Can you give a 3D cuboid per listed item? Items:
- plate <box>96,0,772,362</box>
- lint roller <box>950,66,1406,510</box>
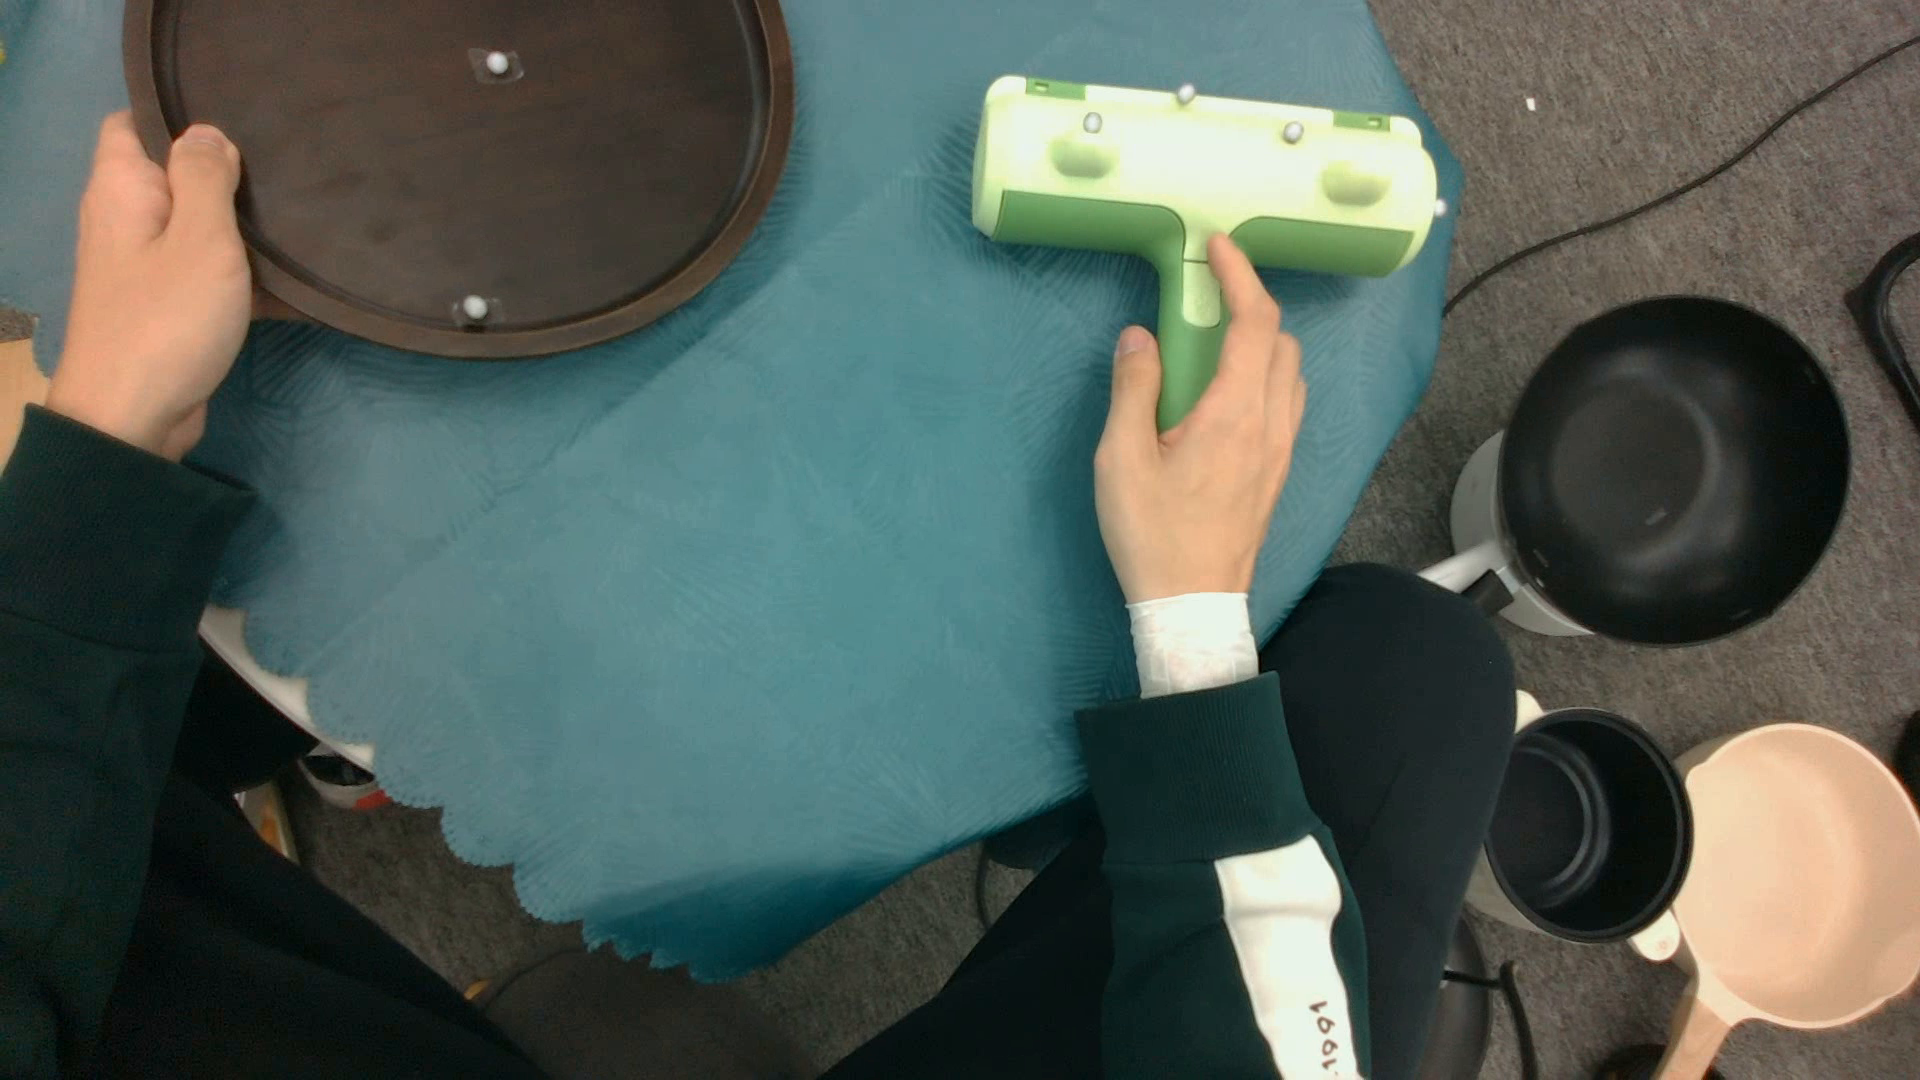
[{"bbox_3d":[-0.203,-0.192,0.558,0.255,0.029,0.255,4,78,-17],"label":"plate"},{"bbox_3d":[0.096,-0.109,0.583,0.199,0.082,0.184,3,74,-9],"label":"lint roller"}]
